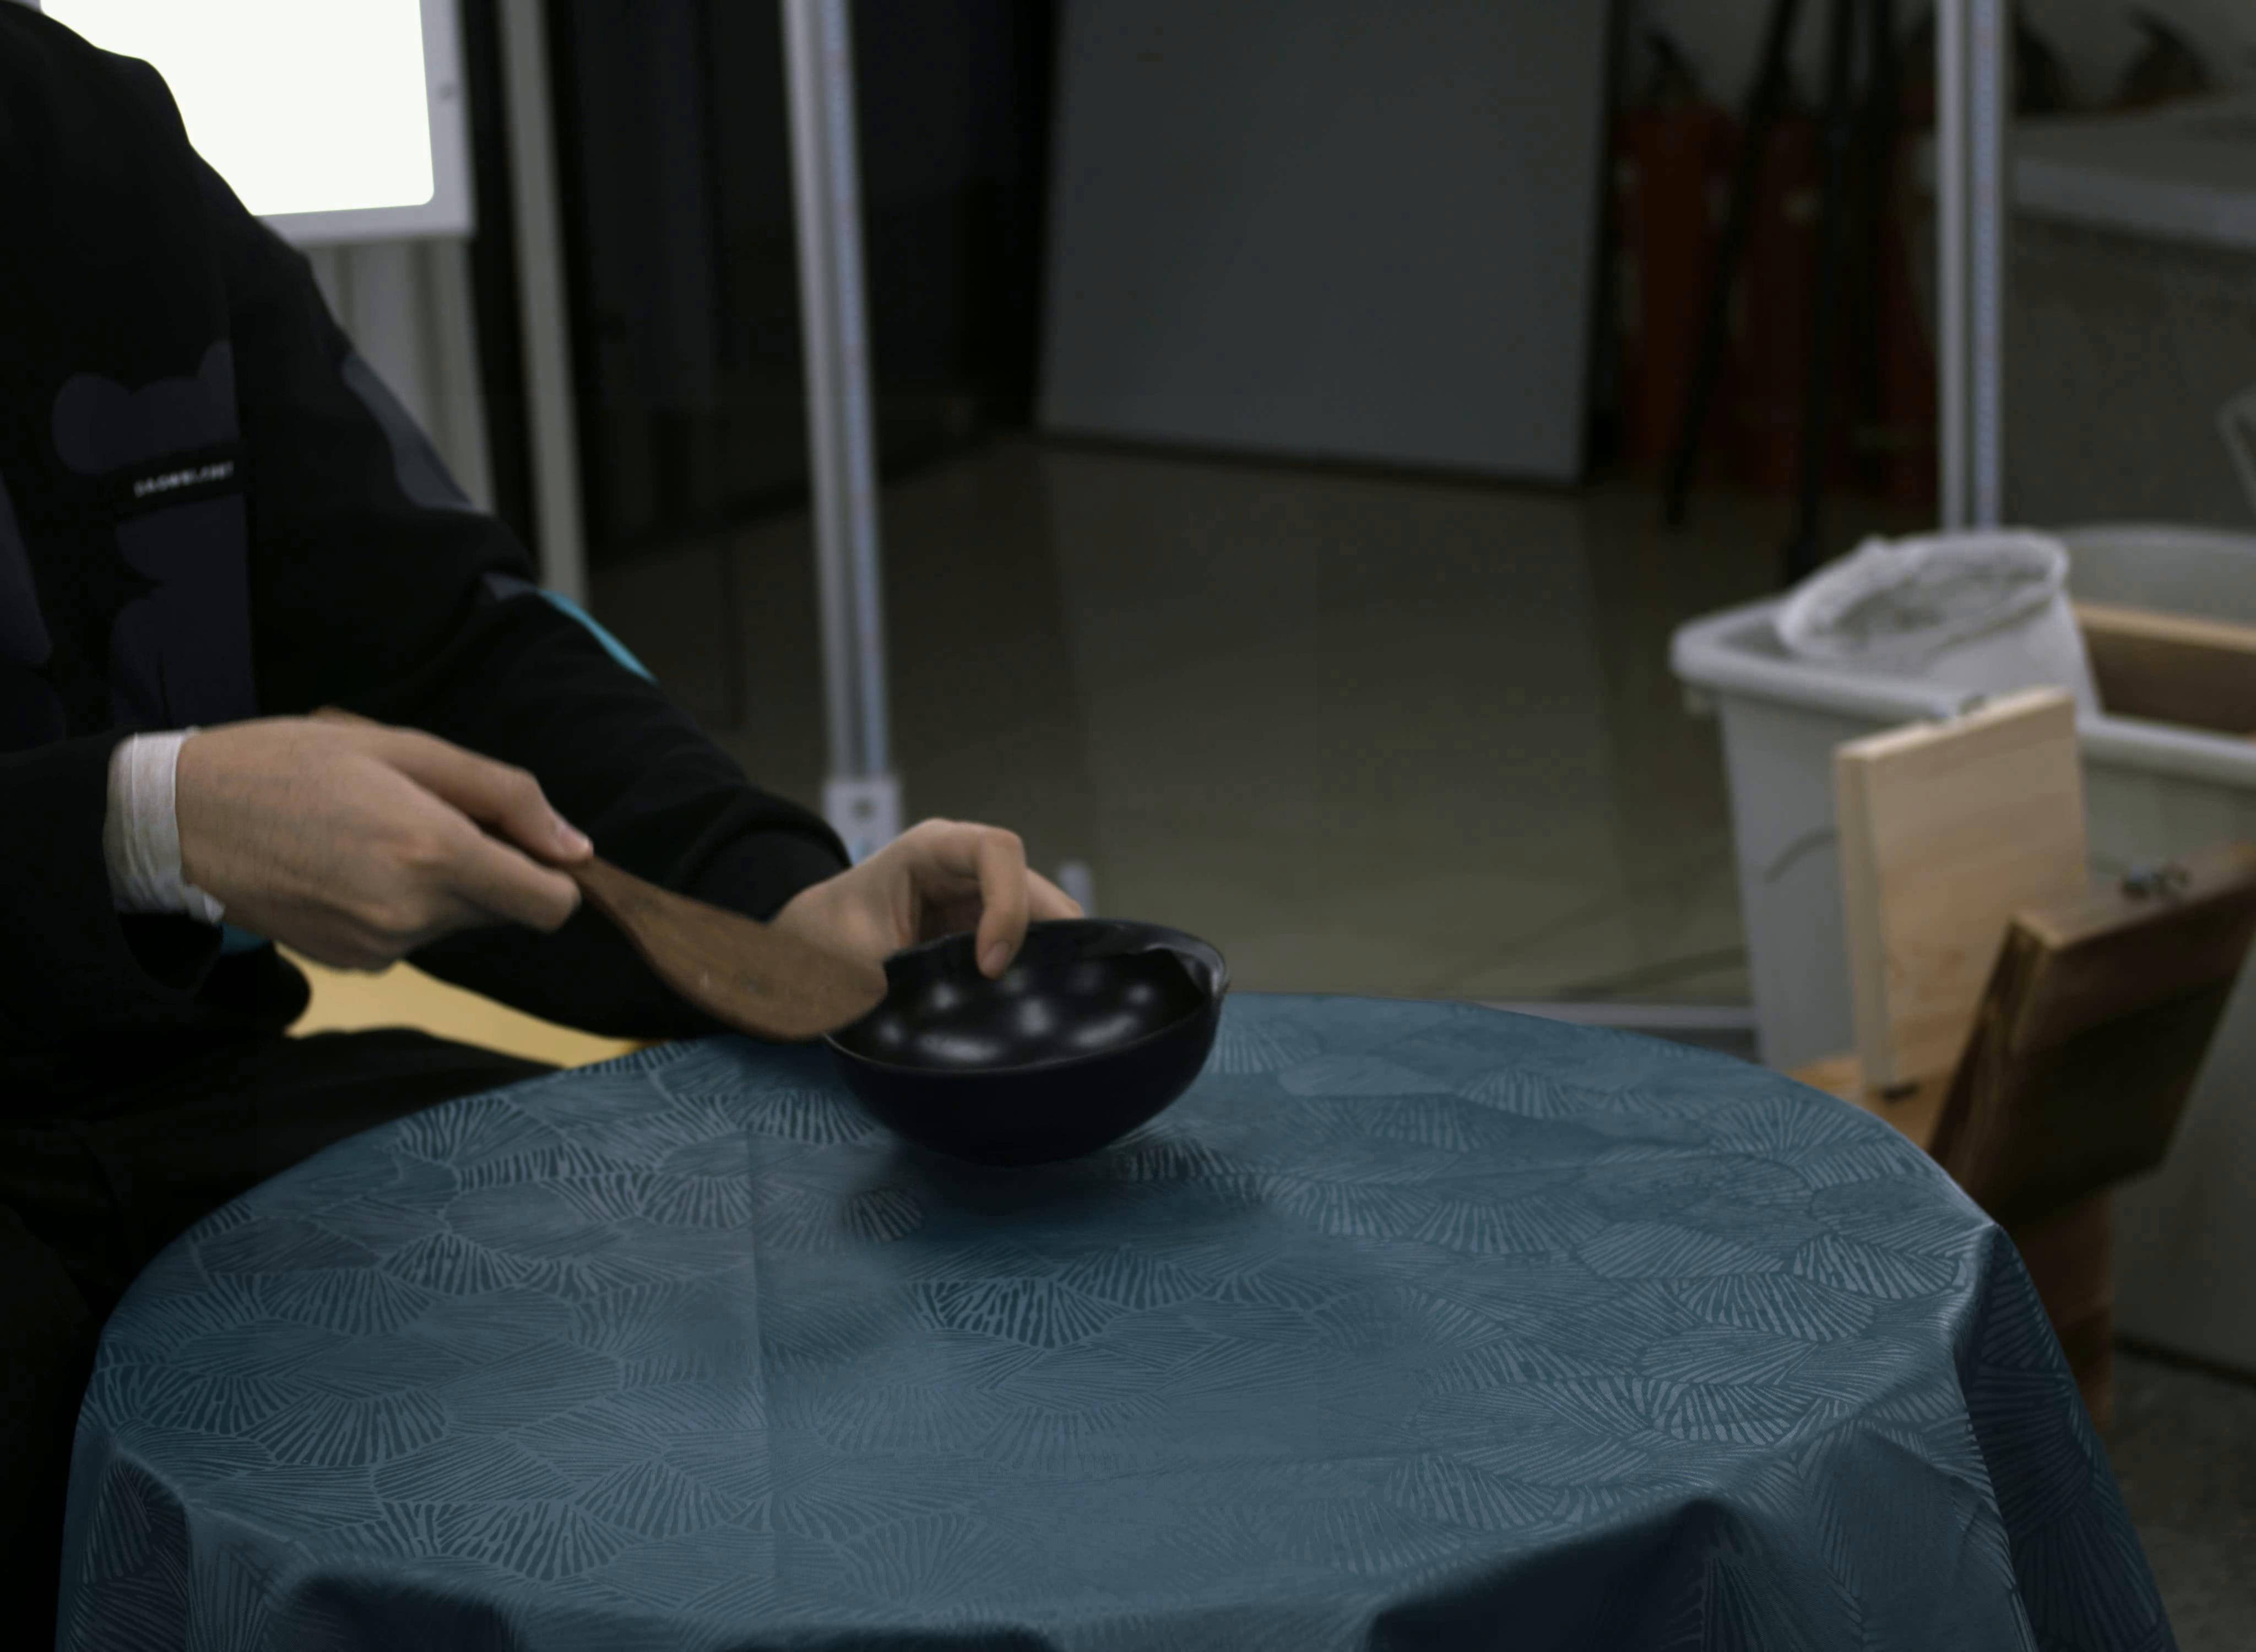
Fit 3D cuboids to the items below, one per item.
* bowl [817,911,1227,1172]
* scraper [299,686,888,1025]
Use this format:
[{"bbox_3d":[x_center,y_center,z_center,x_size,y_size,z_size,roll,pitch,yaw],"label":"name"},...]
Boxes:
[{"bbox_3d":[-0.032,0.078,1.793,0.138,0.050,0.140,-10,20,3],"label":"bowl"},{"bbox_3d":[-0.173,0.008,1.714,0.211,0.011,0.075,30,21,15],"label":"scraper"}]
